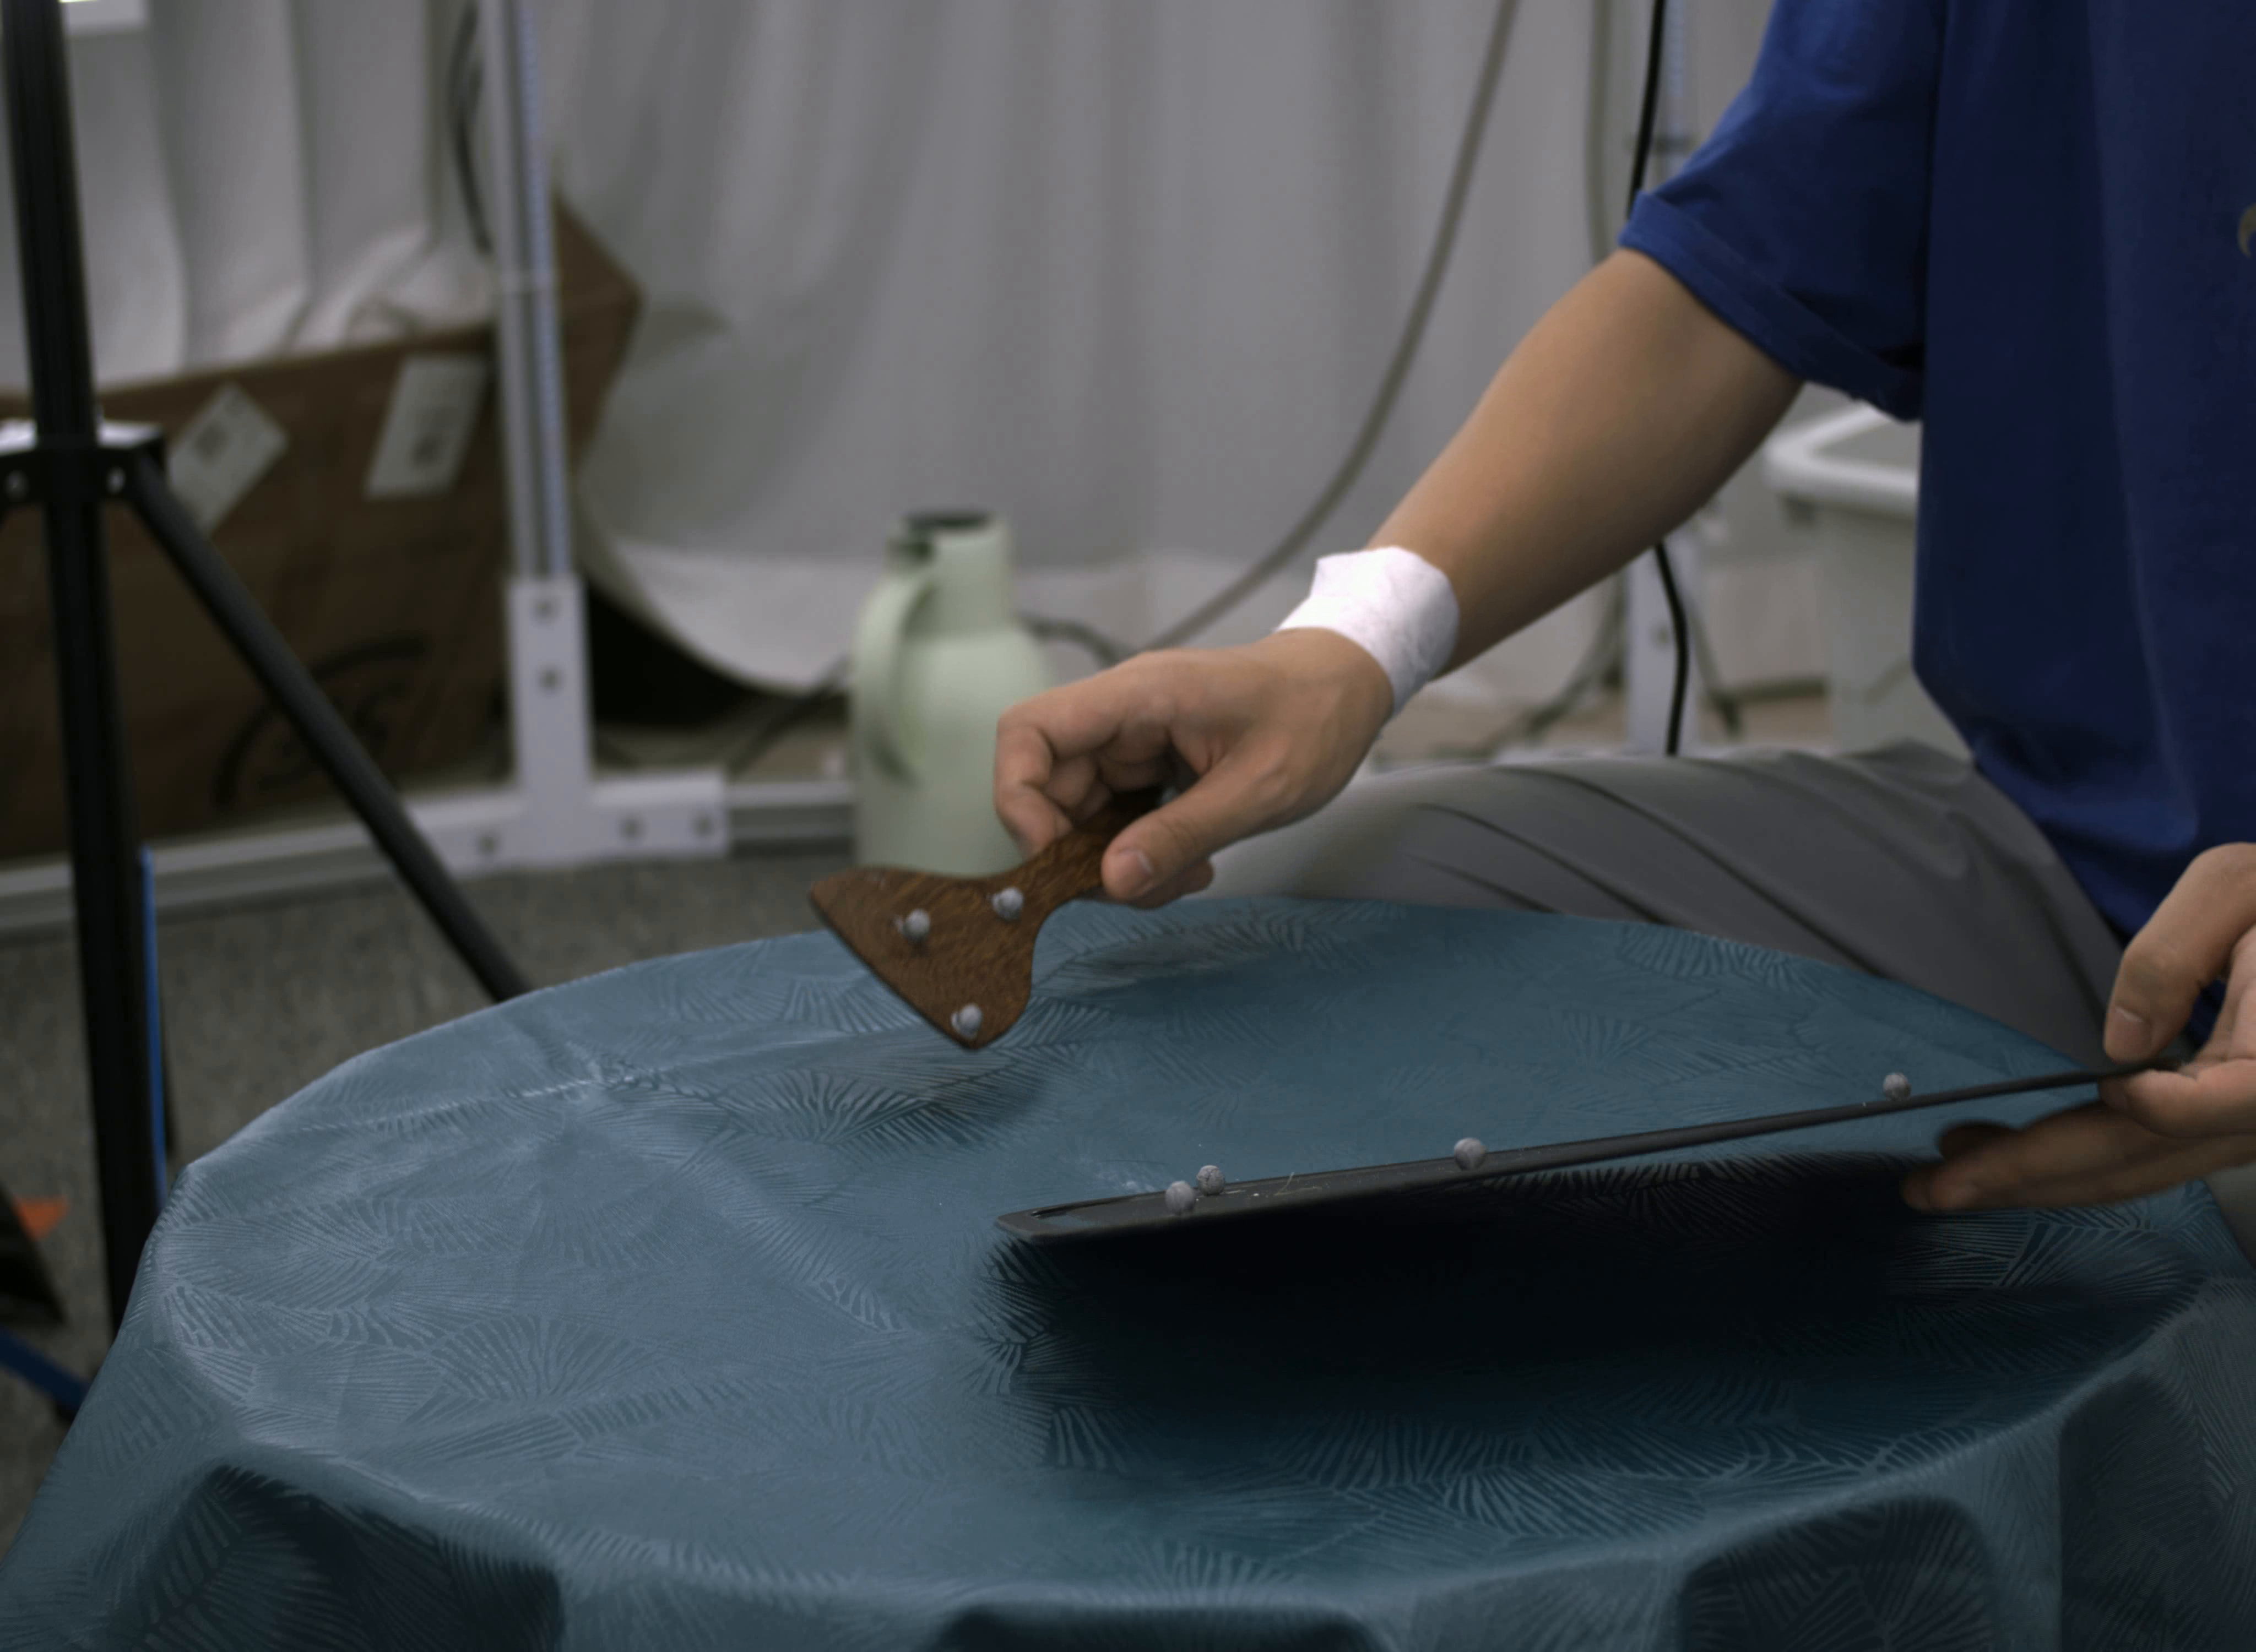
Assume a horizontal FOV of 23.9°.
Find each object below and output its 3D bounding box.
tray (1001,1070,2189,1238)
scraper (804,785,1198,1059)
[{"bbox_3d":[0.129,0.089,1.453,0.323,0.010,0.211,-7,-2,-4],"label":"tray"},{"bbox_3d":[-0.031,0.022,1.708,0.076,0.011,0.208,43,30,11],"label":"scraper"}]
